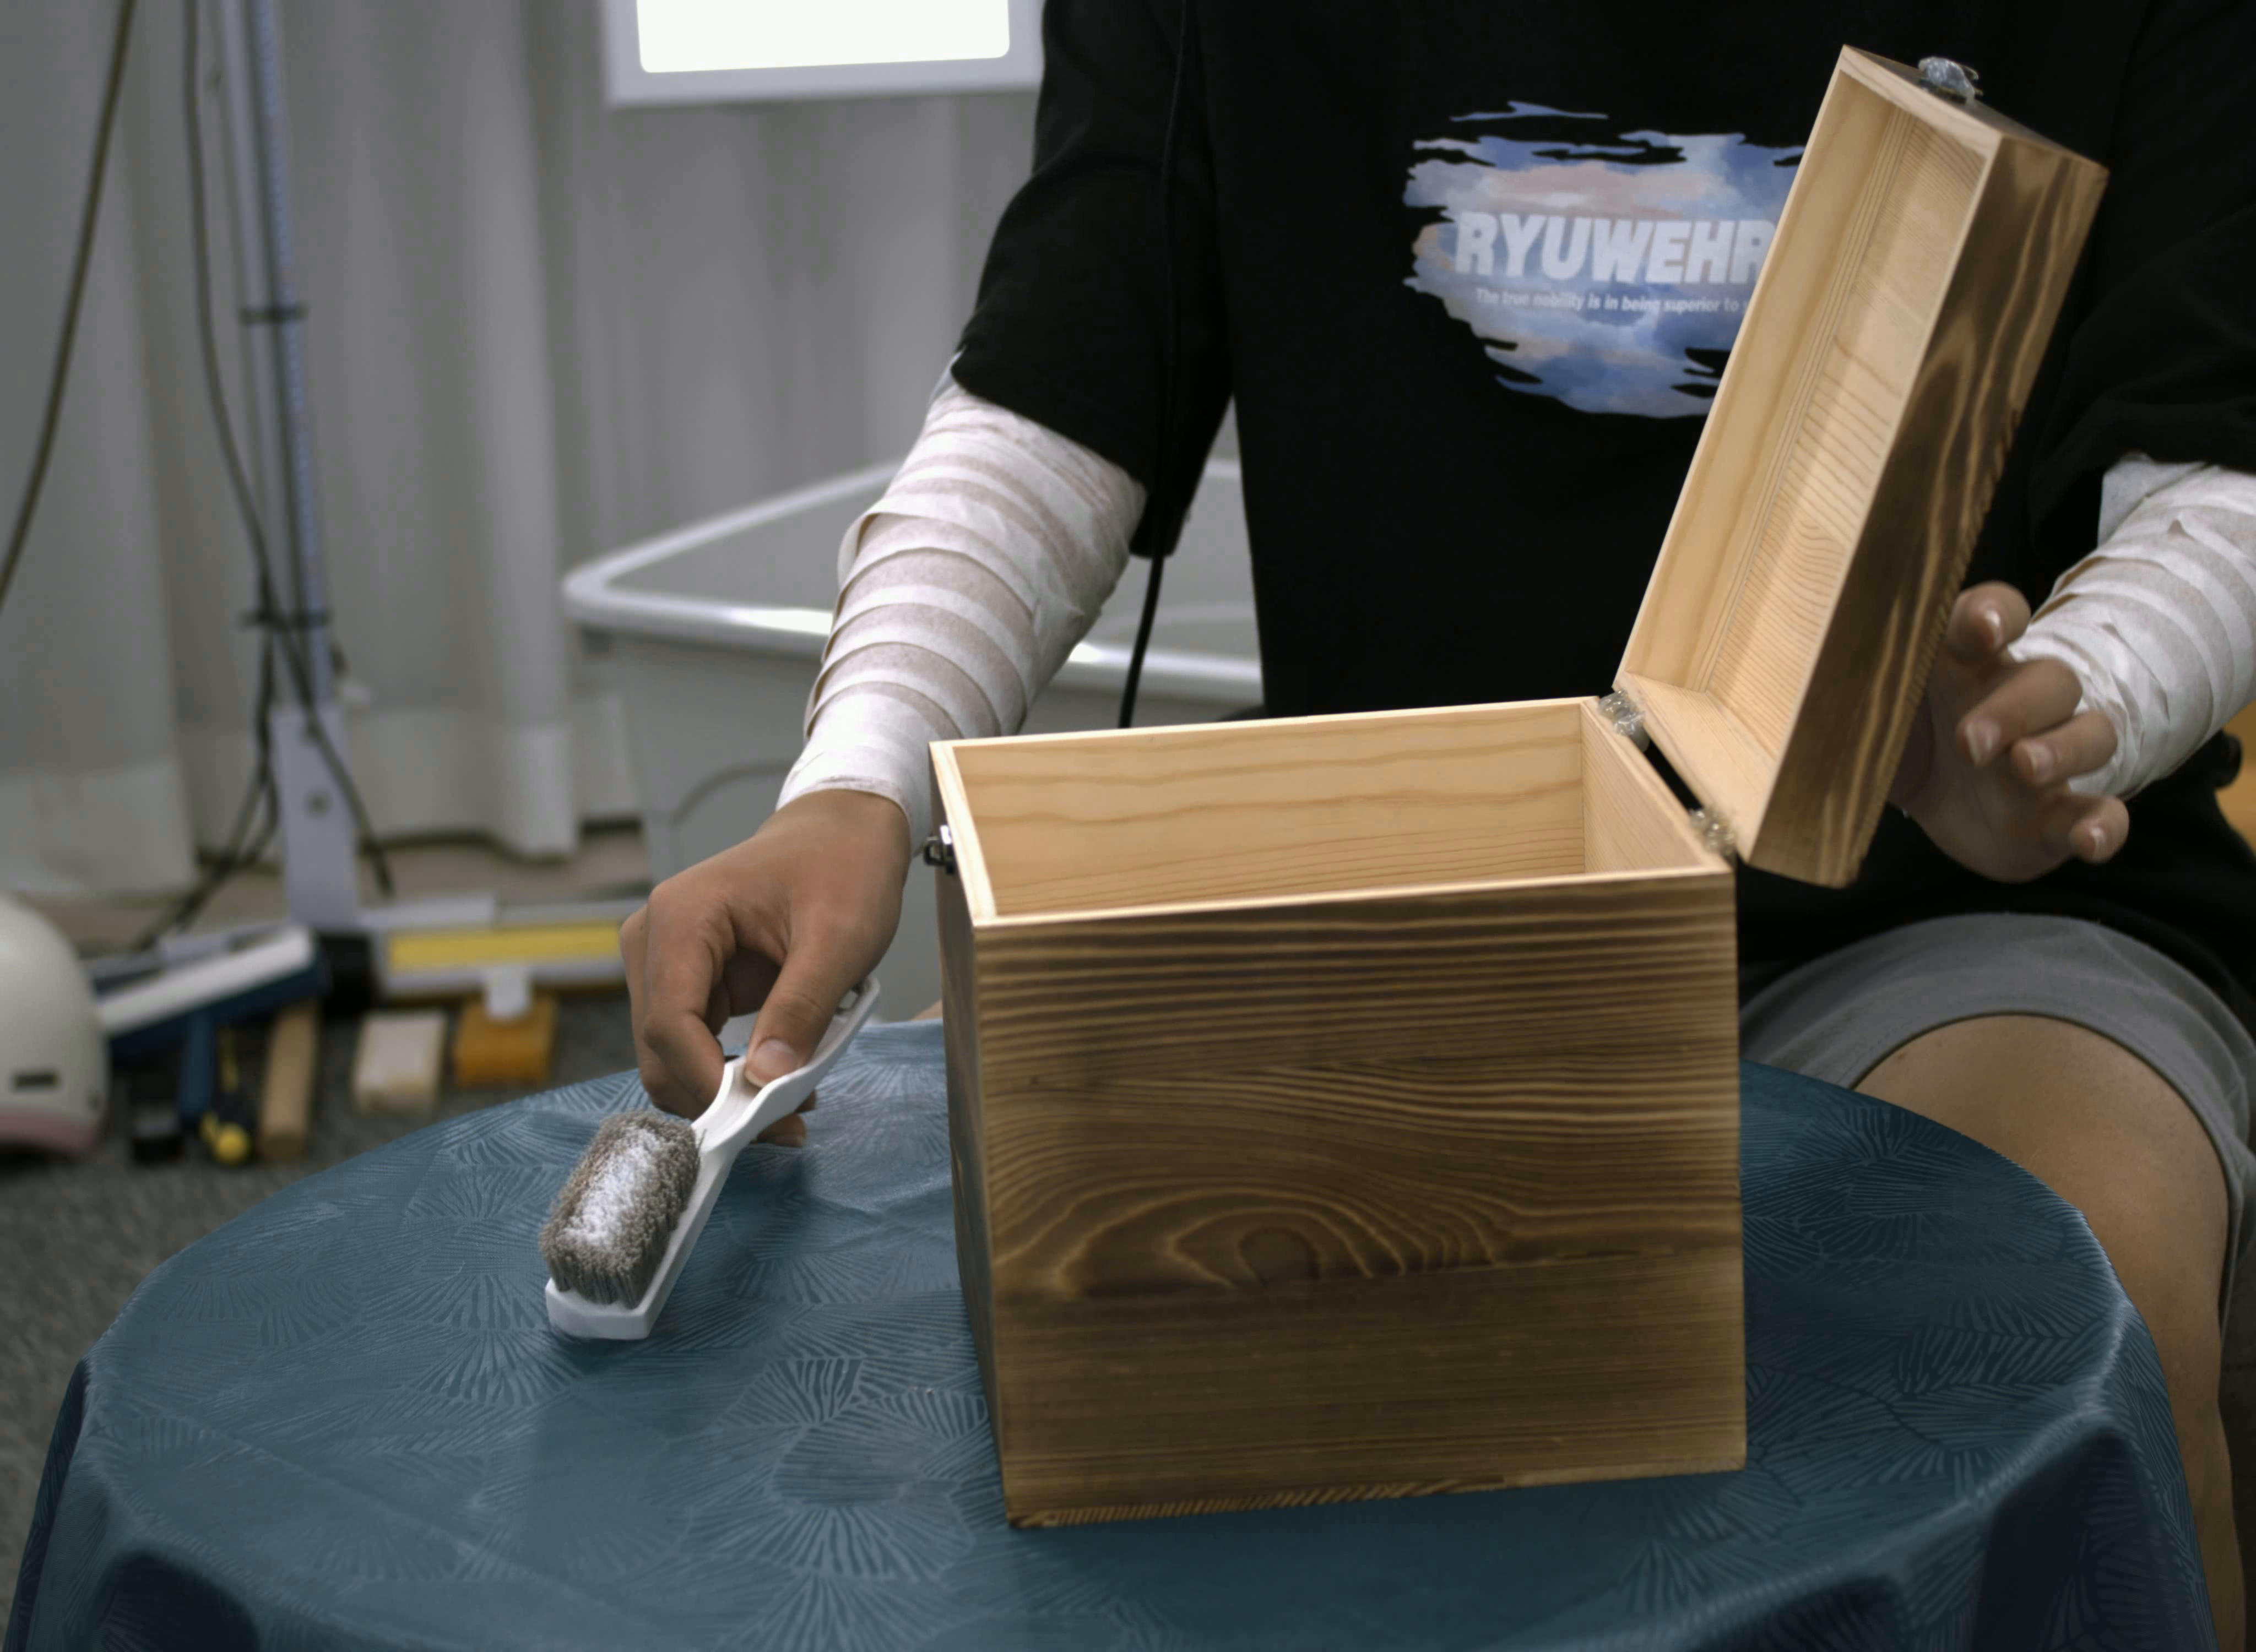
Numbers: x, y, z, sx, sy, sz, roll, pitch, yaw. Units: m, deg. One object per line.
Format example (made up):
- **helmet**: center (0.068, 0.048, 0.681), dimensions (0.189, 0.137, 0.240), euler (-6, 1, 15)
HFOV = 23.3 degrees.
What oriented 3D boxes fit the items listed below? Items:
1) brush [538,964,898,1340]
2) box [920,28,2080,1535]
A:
- **brush**: center (-0.121, 0.082, 1.688), dimensions (0.034, 0.050, 0.245), euler (14, 29, 14)
- **box**: center (0.100, -0.025, 1.515), dimensions (0.321, 0.374, 0.210), euler (-4, 12, -5)
